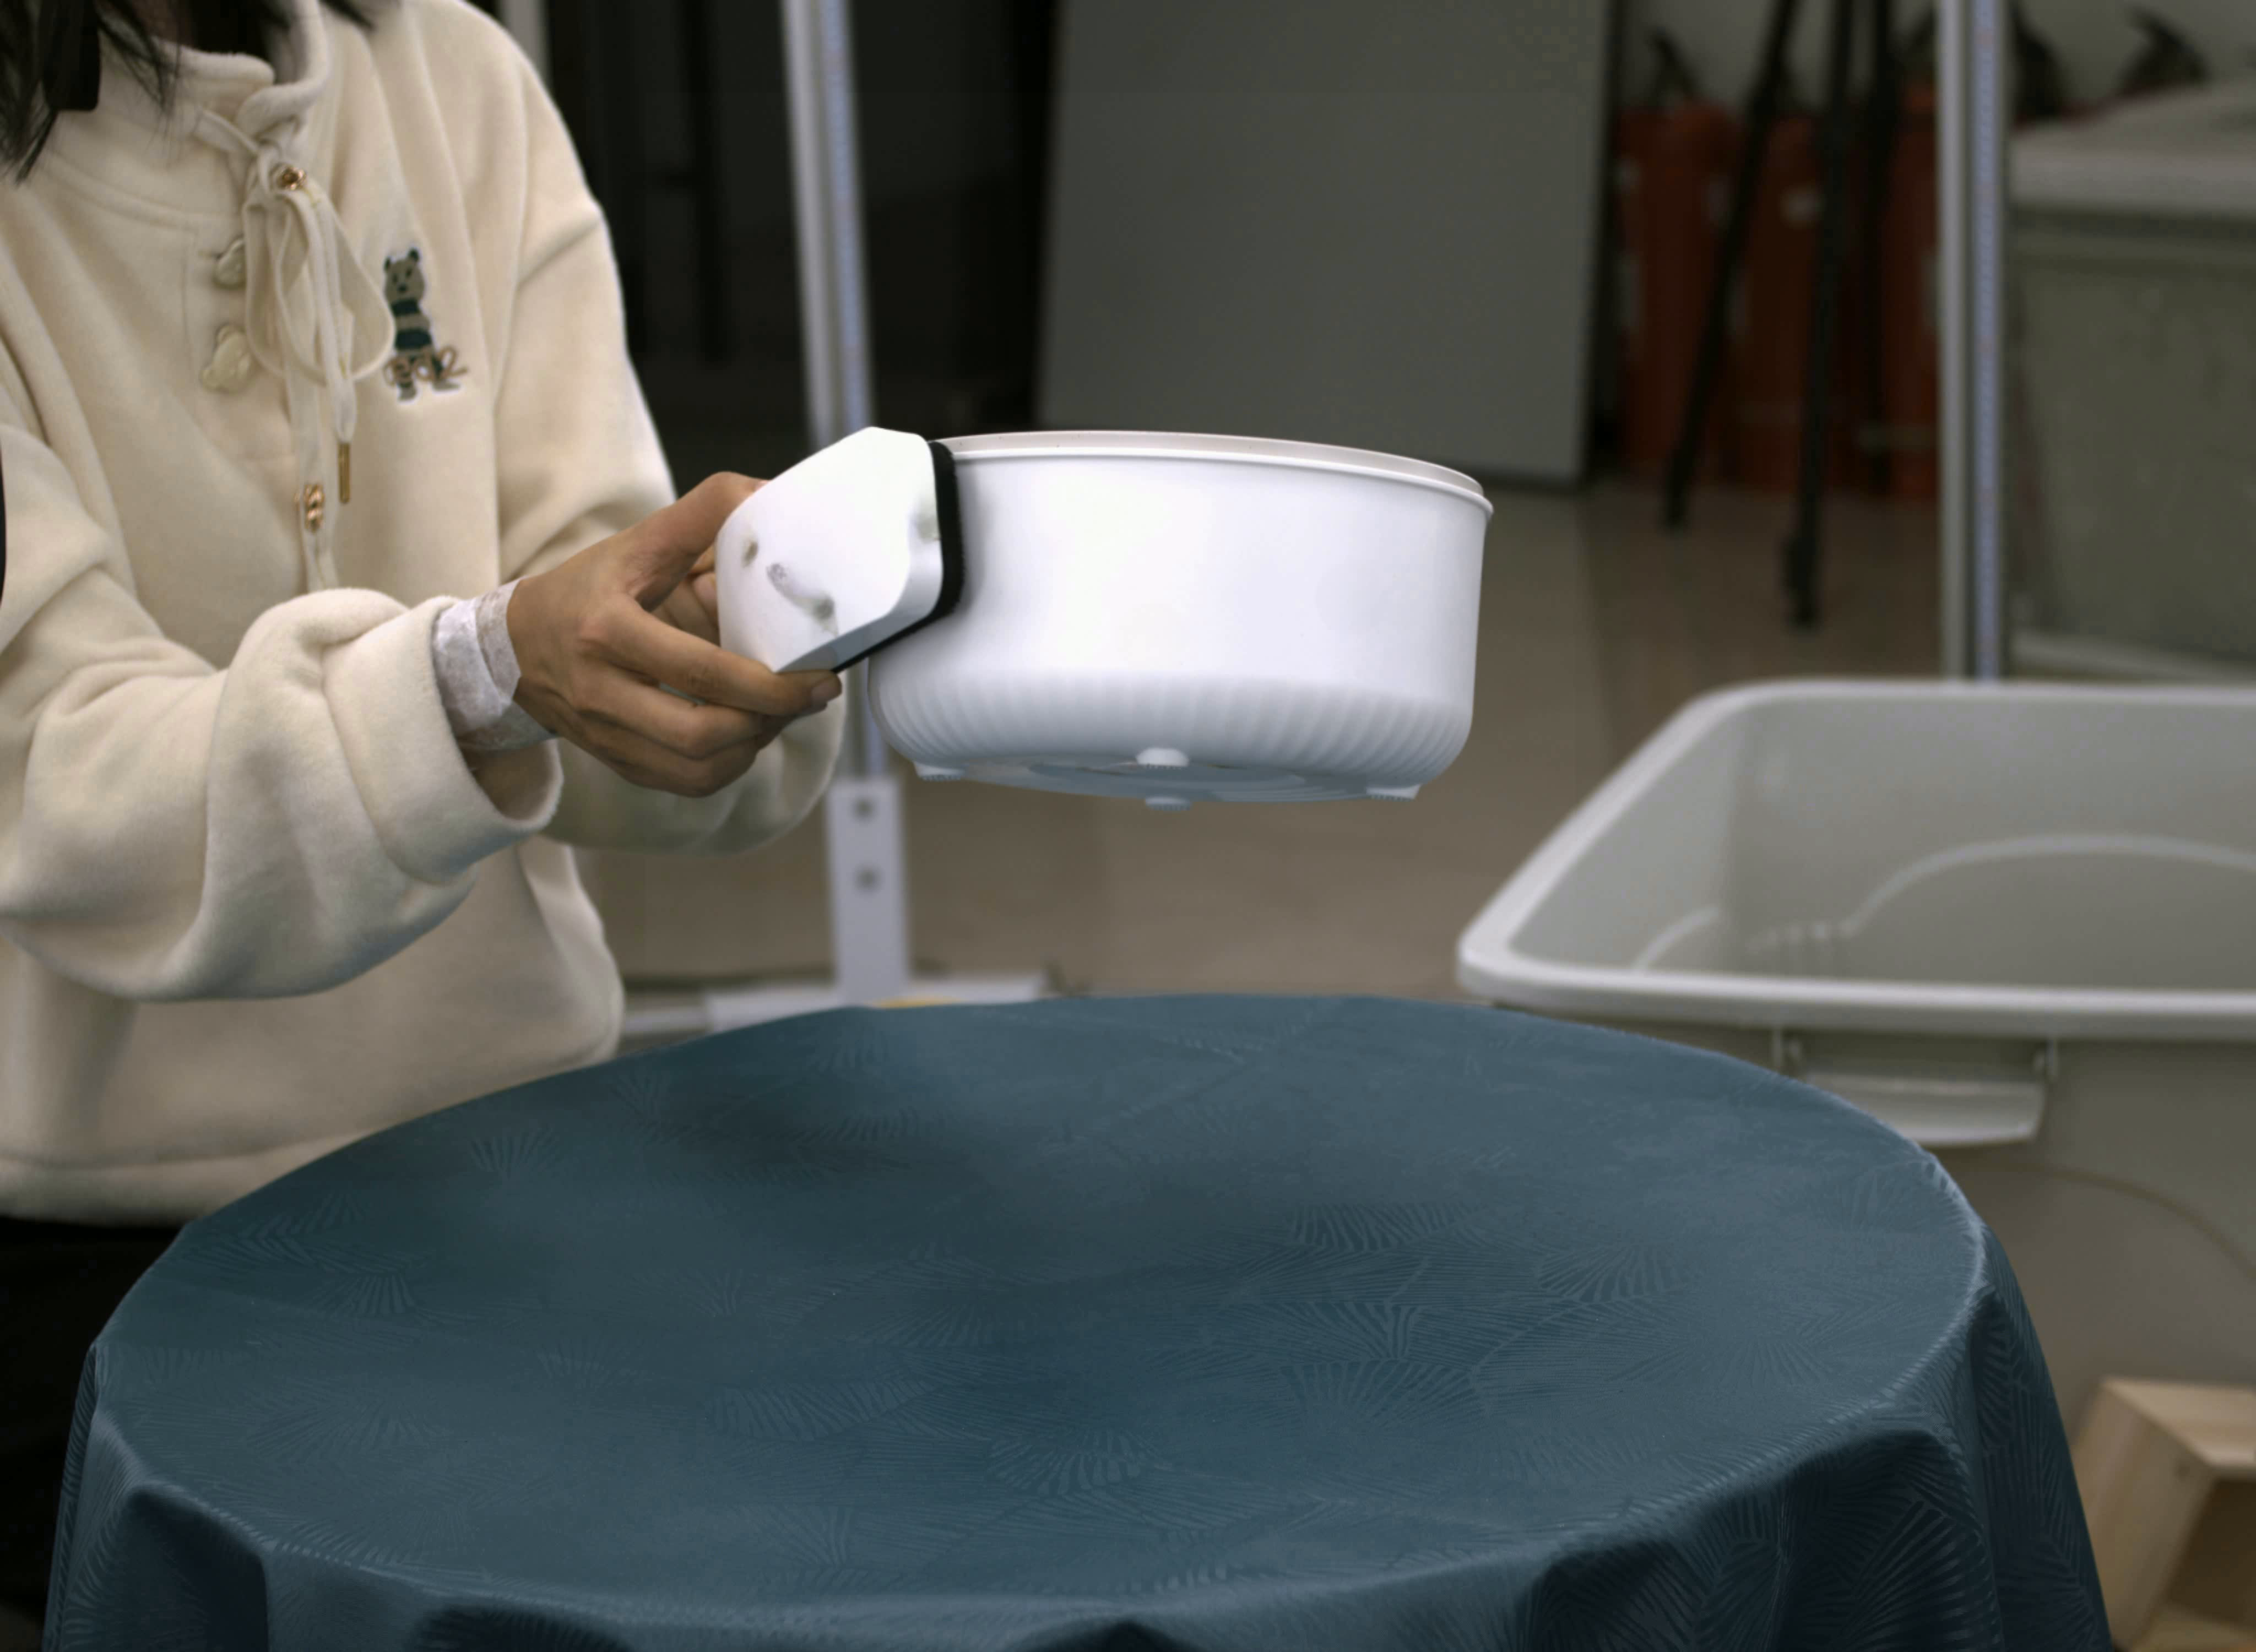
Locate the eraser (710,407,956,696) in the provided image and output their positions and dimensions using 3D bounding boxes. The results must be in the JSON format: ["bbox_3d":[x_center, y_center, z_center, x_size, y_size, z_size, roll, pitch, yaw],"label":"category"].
[{"bbox_3d":[-0.096,-0.085,1.686,0.034,0.064,0.132,5,-17,-29],"label":"eraser"}]

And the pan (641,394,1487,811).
[{"bbox_3d":[-0.039,-0.060,1.770,0.196,0.103,0.358,9,-11,-42],"label":"pan"}]
